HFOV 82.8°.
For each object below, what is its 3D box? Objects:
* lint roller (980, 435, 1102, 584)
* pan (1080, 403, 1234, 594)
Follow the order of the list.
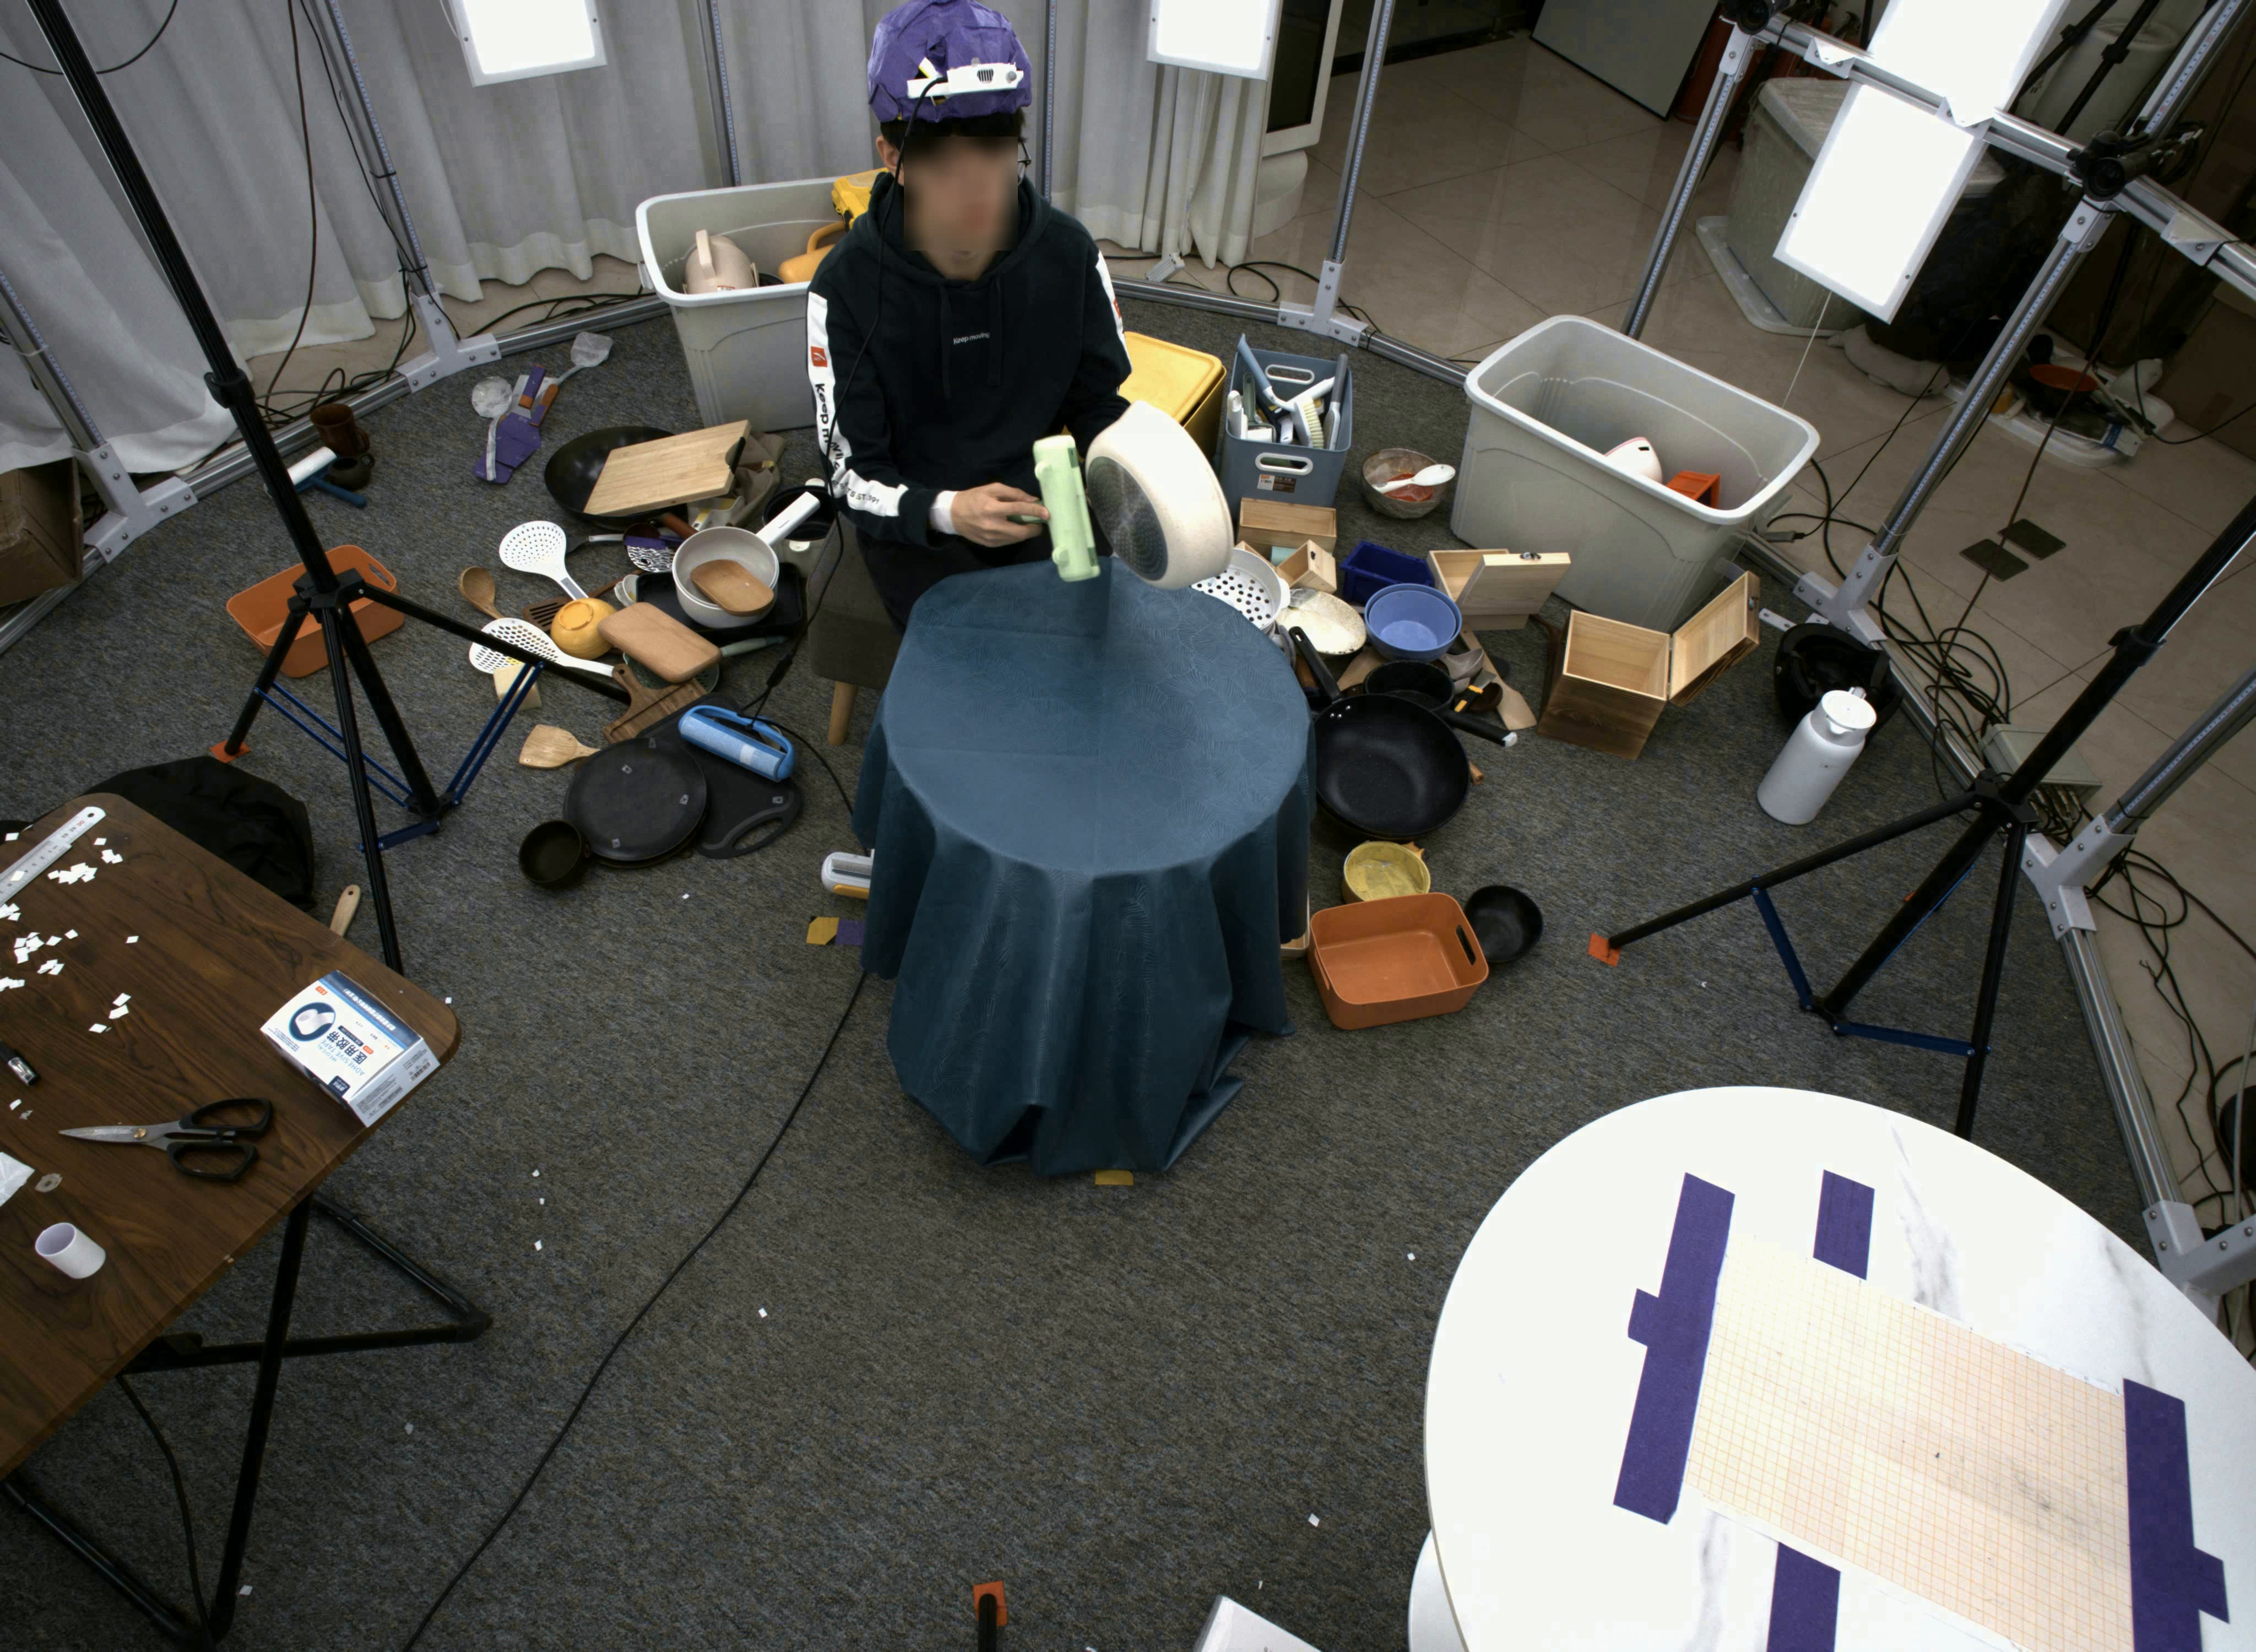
[{"bbox_3d":[-0.138,-0.429,1.790,0.183,0.195,0.083,-4,22,24],"label":"lint roller"},{"bbox_3d":[-0.003,-0.447,1.813,0.102,0.259,0.439,-34,23,-16],"label":"pan"}]
